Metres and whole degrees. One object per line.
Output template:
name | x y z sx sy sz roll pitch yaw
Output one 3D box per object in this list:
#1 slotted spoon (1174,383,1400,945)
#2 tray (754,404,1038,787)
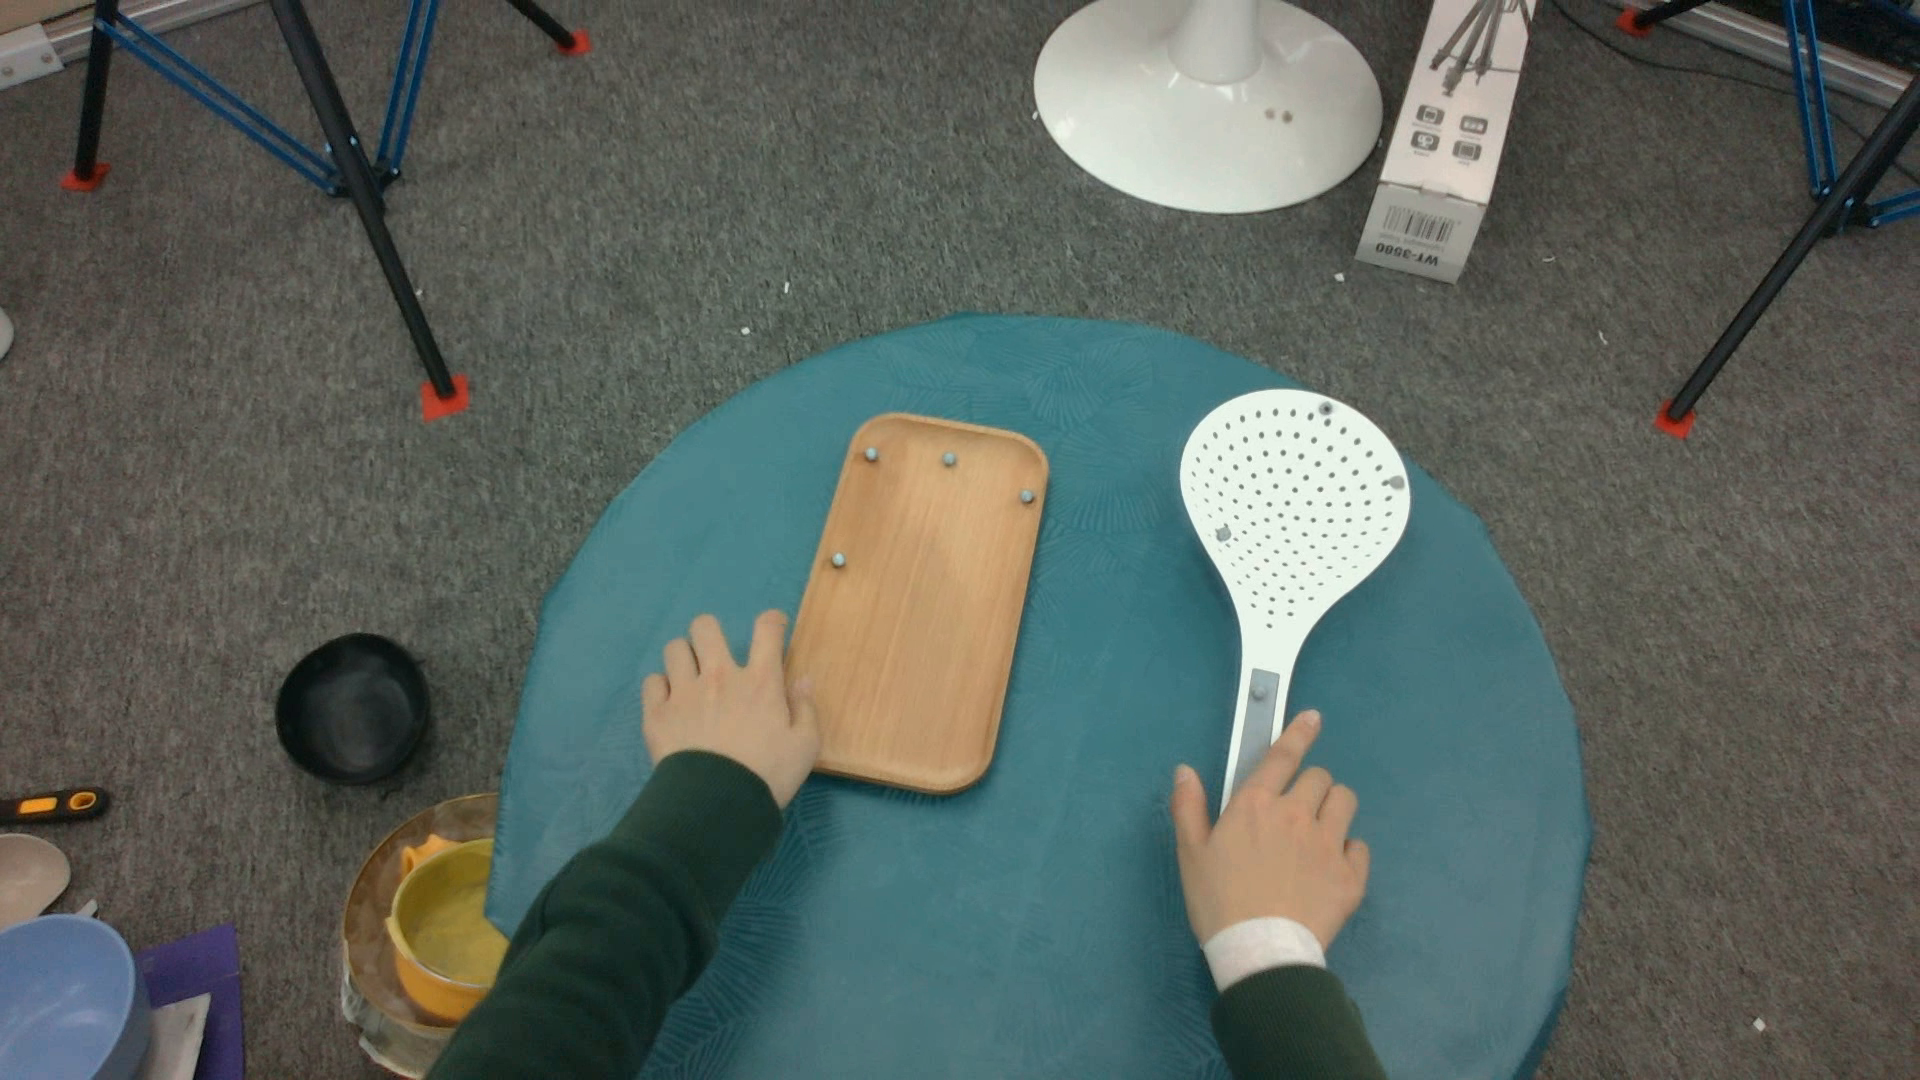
slotted spoon | 0.170 0.056 0.784 0.136 0.045 0.351 13 57 6
tray | -0.032 0.025 0.812 0.130 0.023 0.252 10 57 6
